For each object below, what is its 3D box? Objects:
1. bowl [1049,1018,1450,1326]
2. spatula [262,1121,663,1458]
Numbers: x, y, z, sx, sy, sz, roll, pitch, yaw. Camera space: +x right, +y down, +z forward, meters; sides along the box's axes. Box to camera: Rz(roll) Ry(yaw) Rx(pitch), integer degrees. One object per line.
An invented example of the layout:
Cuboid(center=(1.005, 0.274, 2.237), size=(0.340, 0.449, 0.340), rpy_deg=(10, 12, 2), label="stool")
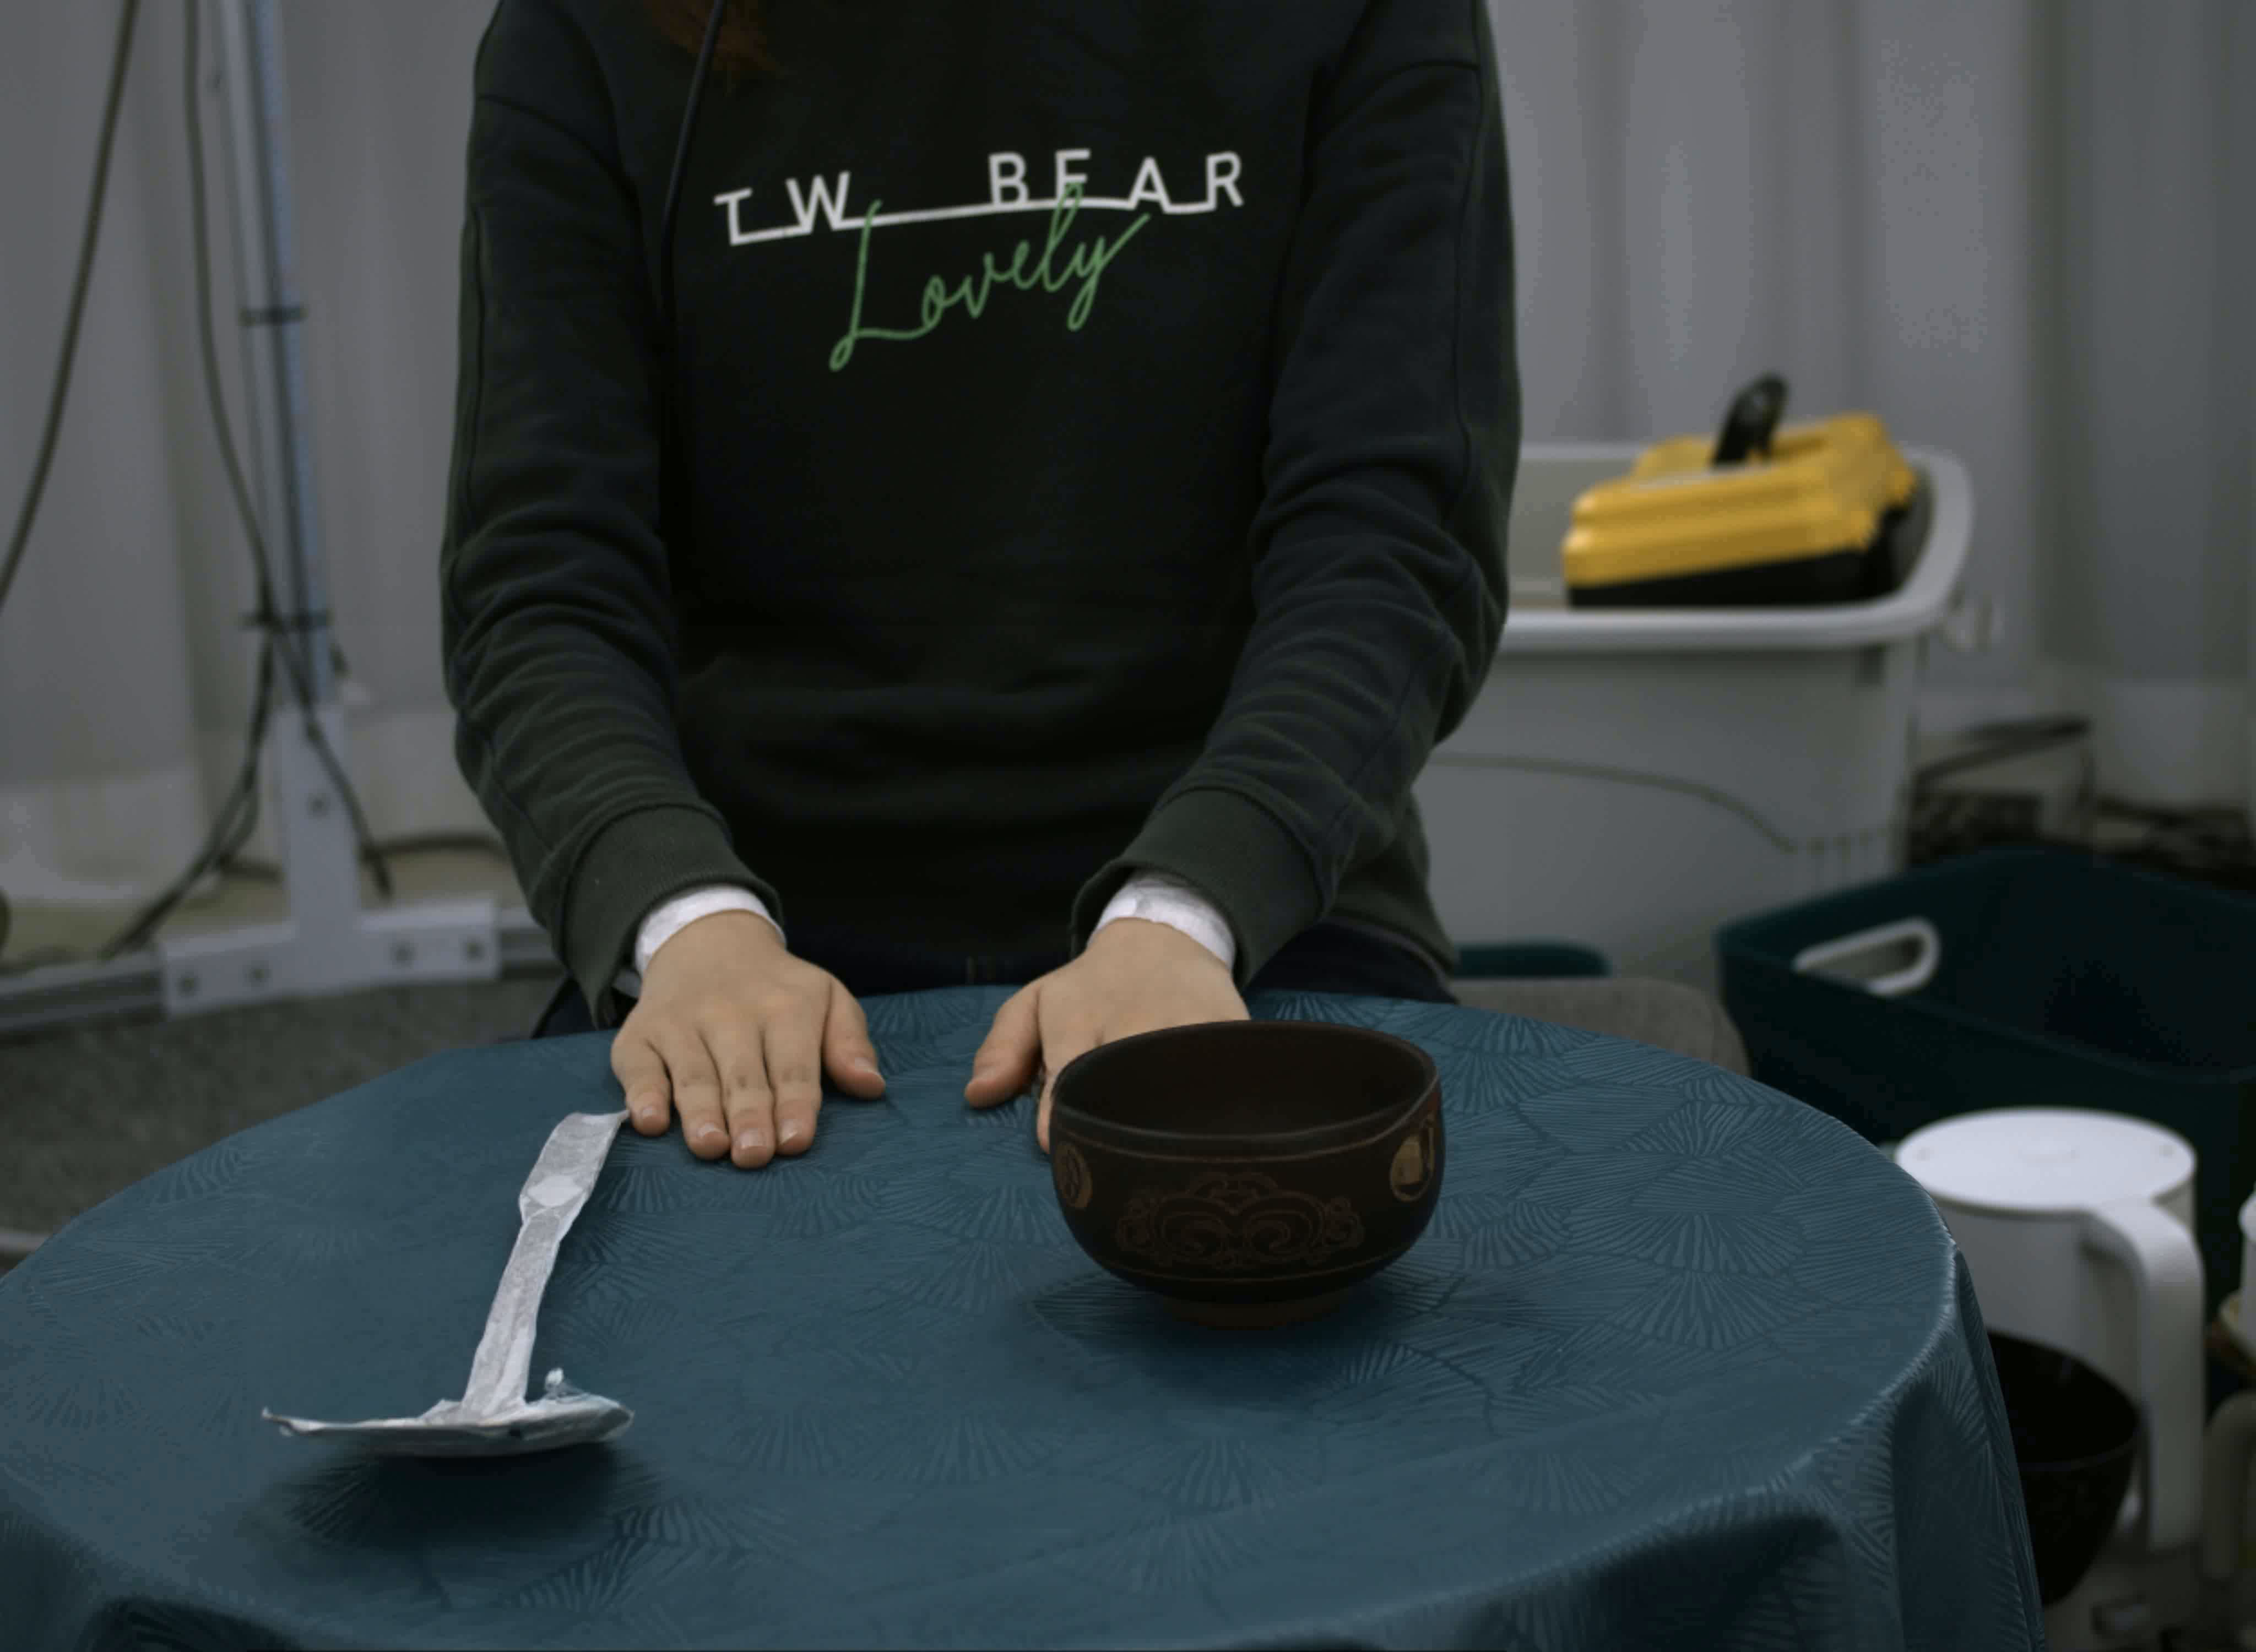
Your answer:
Cuboid(center=(0.036, 0.105, 1.606), size=(0.117, 0.069, 0.119), rpy_deg=(-1, 14, 0), label="bowl")
Cuboid(center=(-0.175, 0.129, 1.621), size=(0.098, 0.044, 0.367), rpy_deg=(-4, 15, 4), label="spatula")
